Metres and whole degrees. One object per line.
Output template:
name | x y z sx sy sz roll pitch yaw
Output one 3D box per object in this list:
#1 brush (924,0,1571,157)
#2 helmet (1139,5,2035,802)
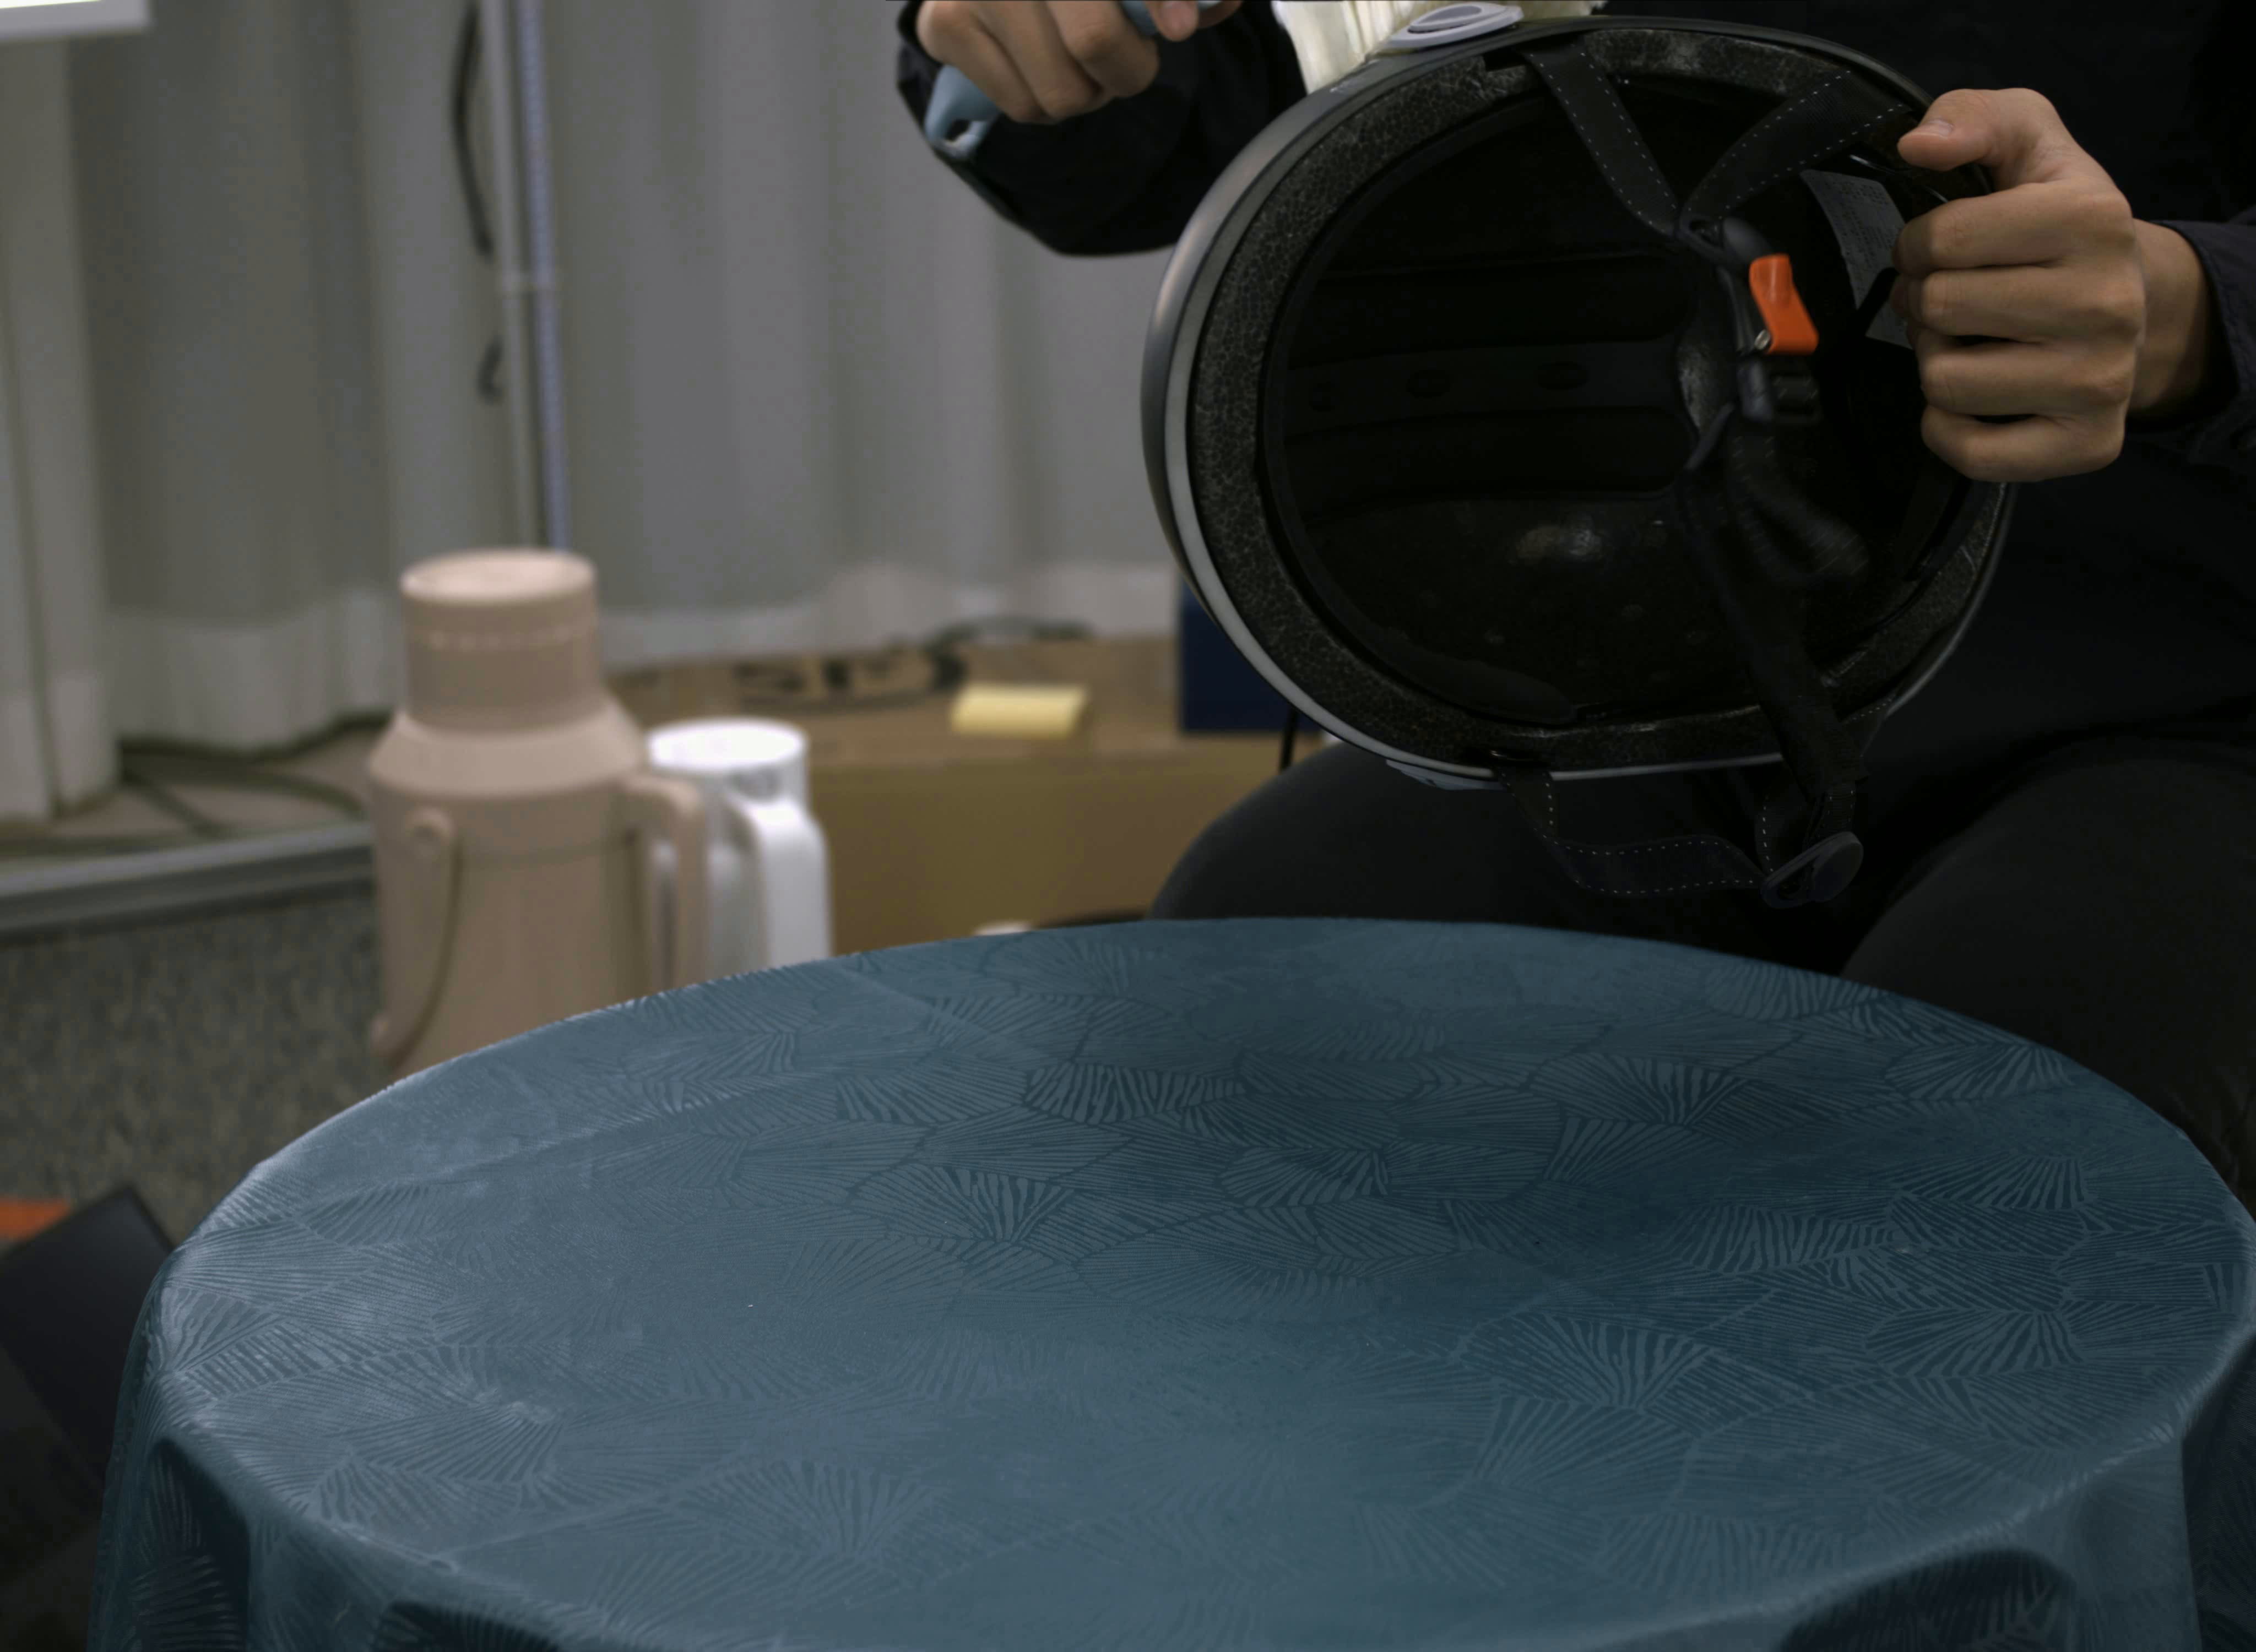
brush | 0.043 -0.236 1.662 0.331 0.082 0.084 -20 35 50
helmet | 0.124 -0.129 1.588 0.269 0.230 0.169 -4 11 -11
